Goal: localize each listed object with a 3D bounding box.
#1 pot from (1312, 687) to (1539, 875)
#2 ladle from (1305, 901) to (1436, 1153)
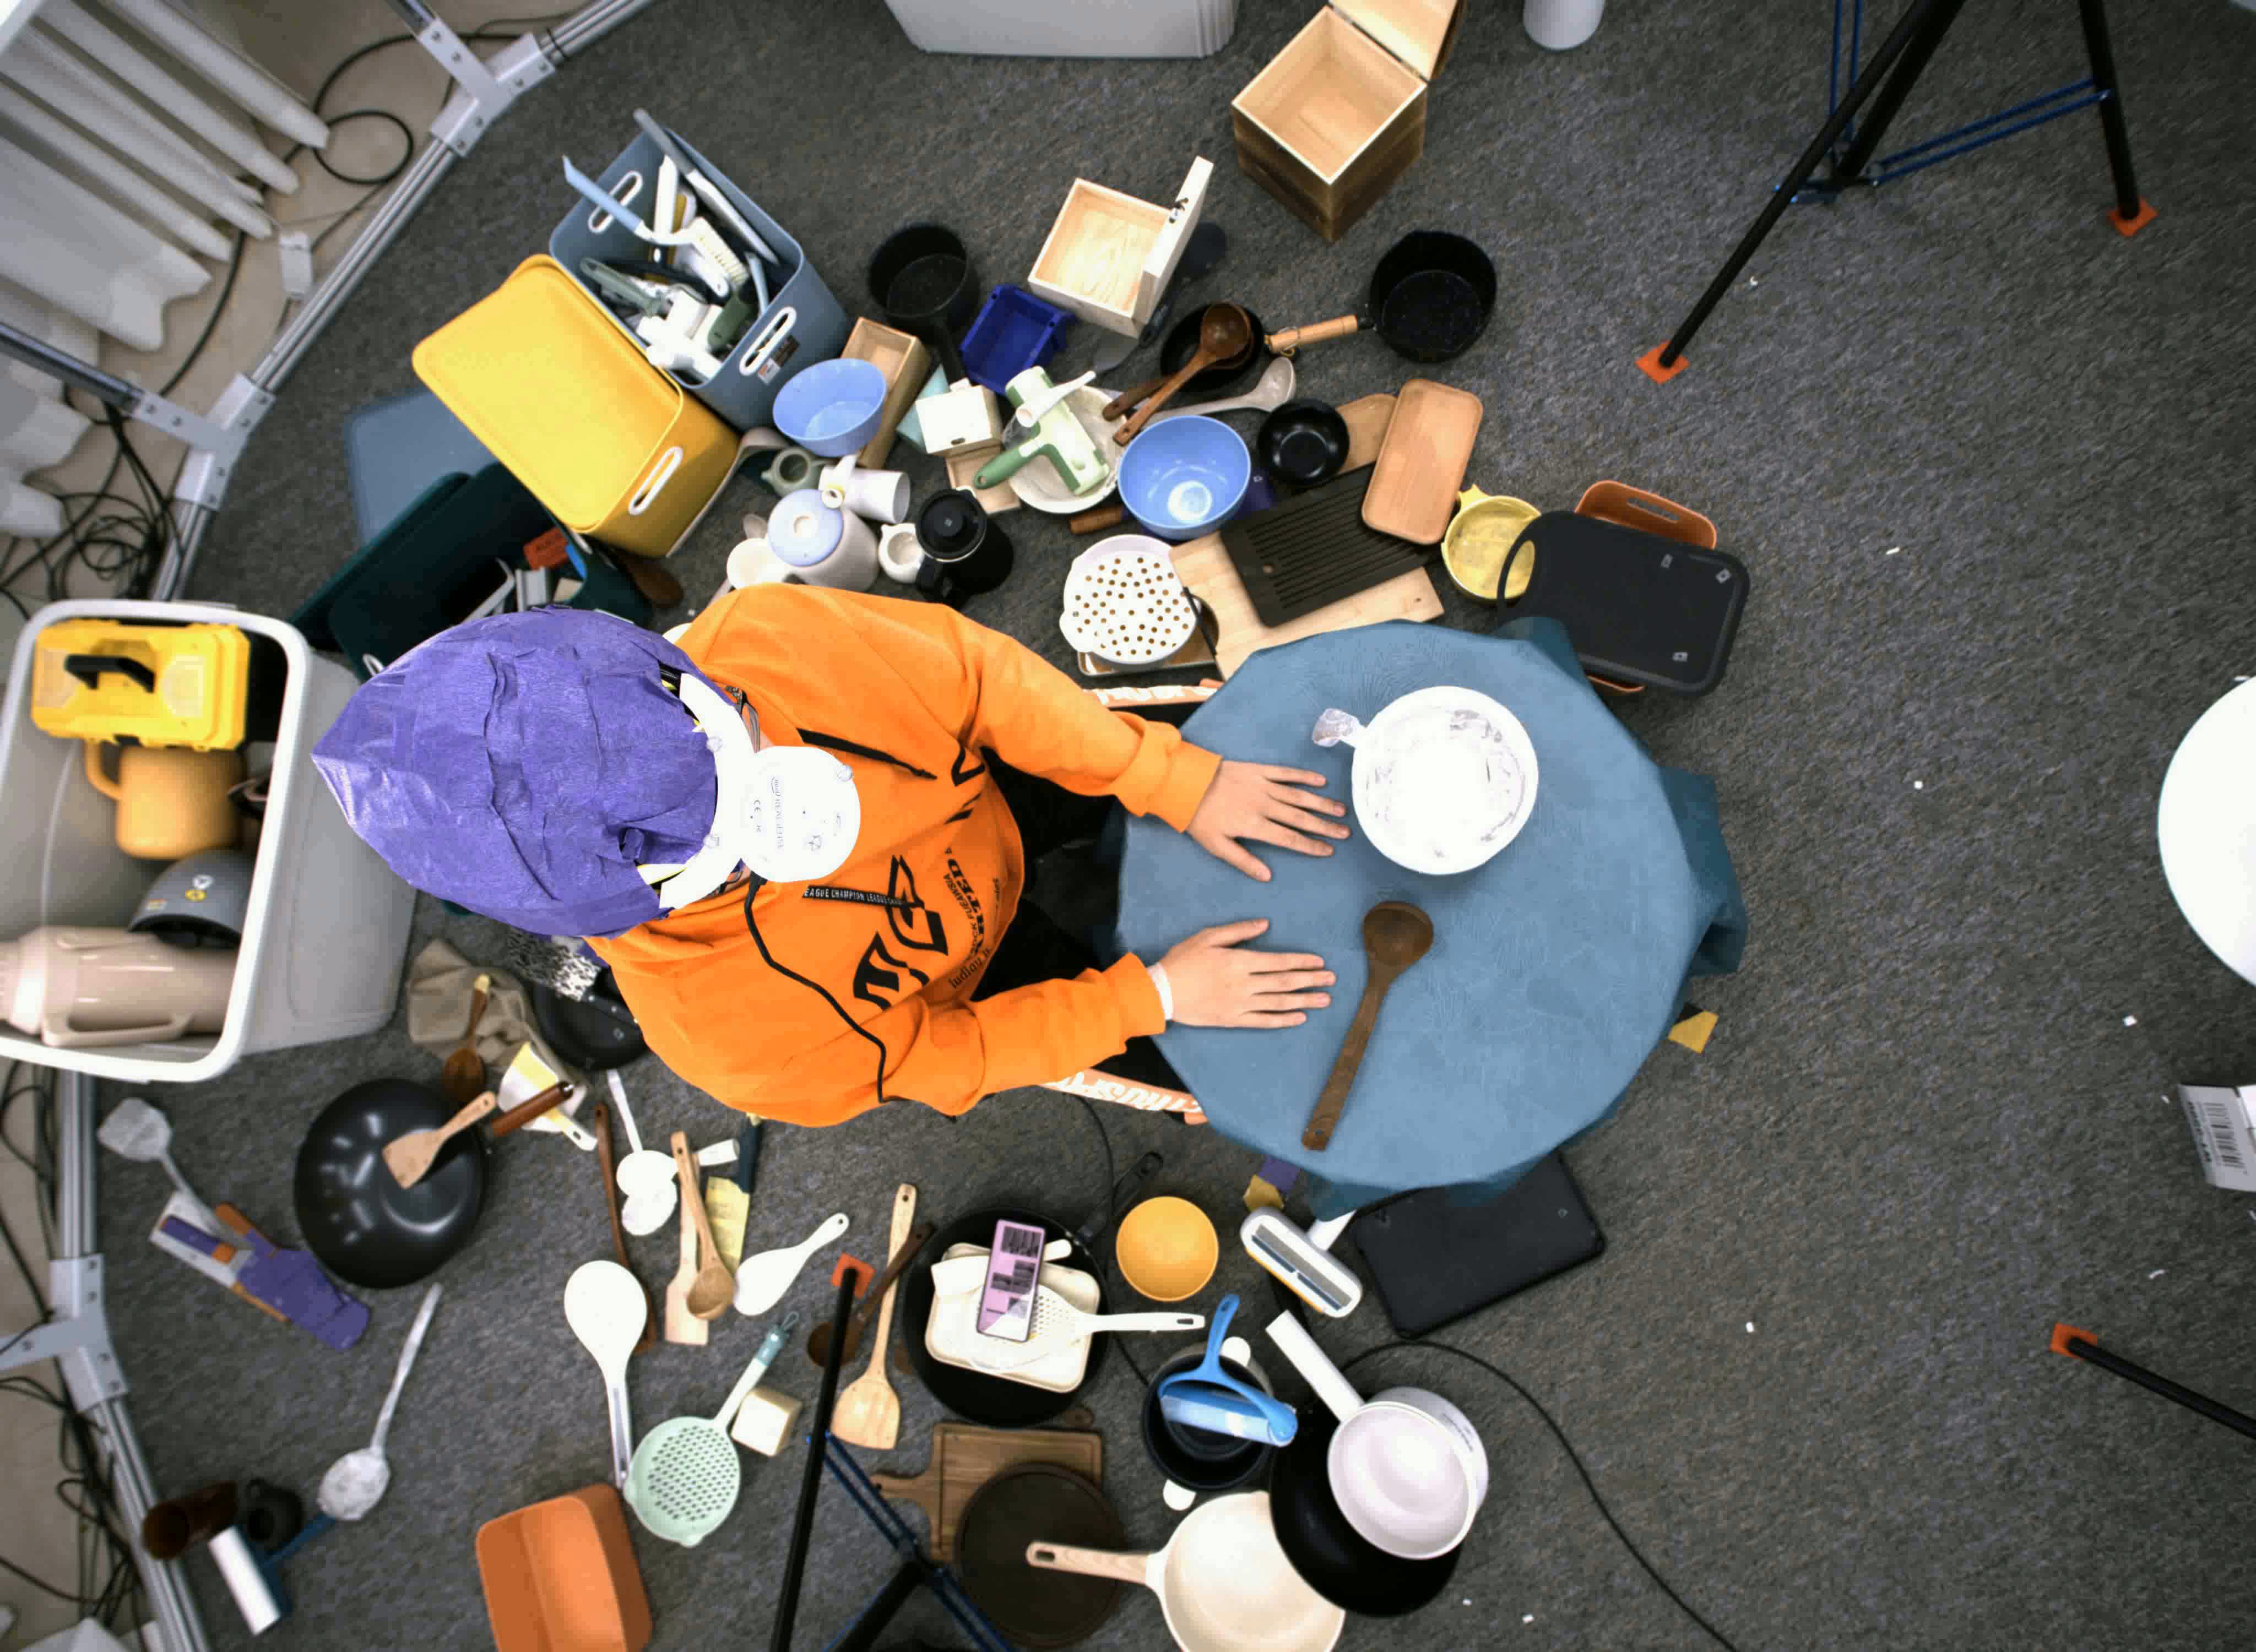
[{"bbox_3d":[0.292,-0.056,1.393,0.233,0.137,0.179,28,91,11],"label":"pot"},{"bbox_3d":[0.240,0.207,1.423,0.076,0.071,0.274,22,90,15],"label":"ladle"}]
